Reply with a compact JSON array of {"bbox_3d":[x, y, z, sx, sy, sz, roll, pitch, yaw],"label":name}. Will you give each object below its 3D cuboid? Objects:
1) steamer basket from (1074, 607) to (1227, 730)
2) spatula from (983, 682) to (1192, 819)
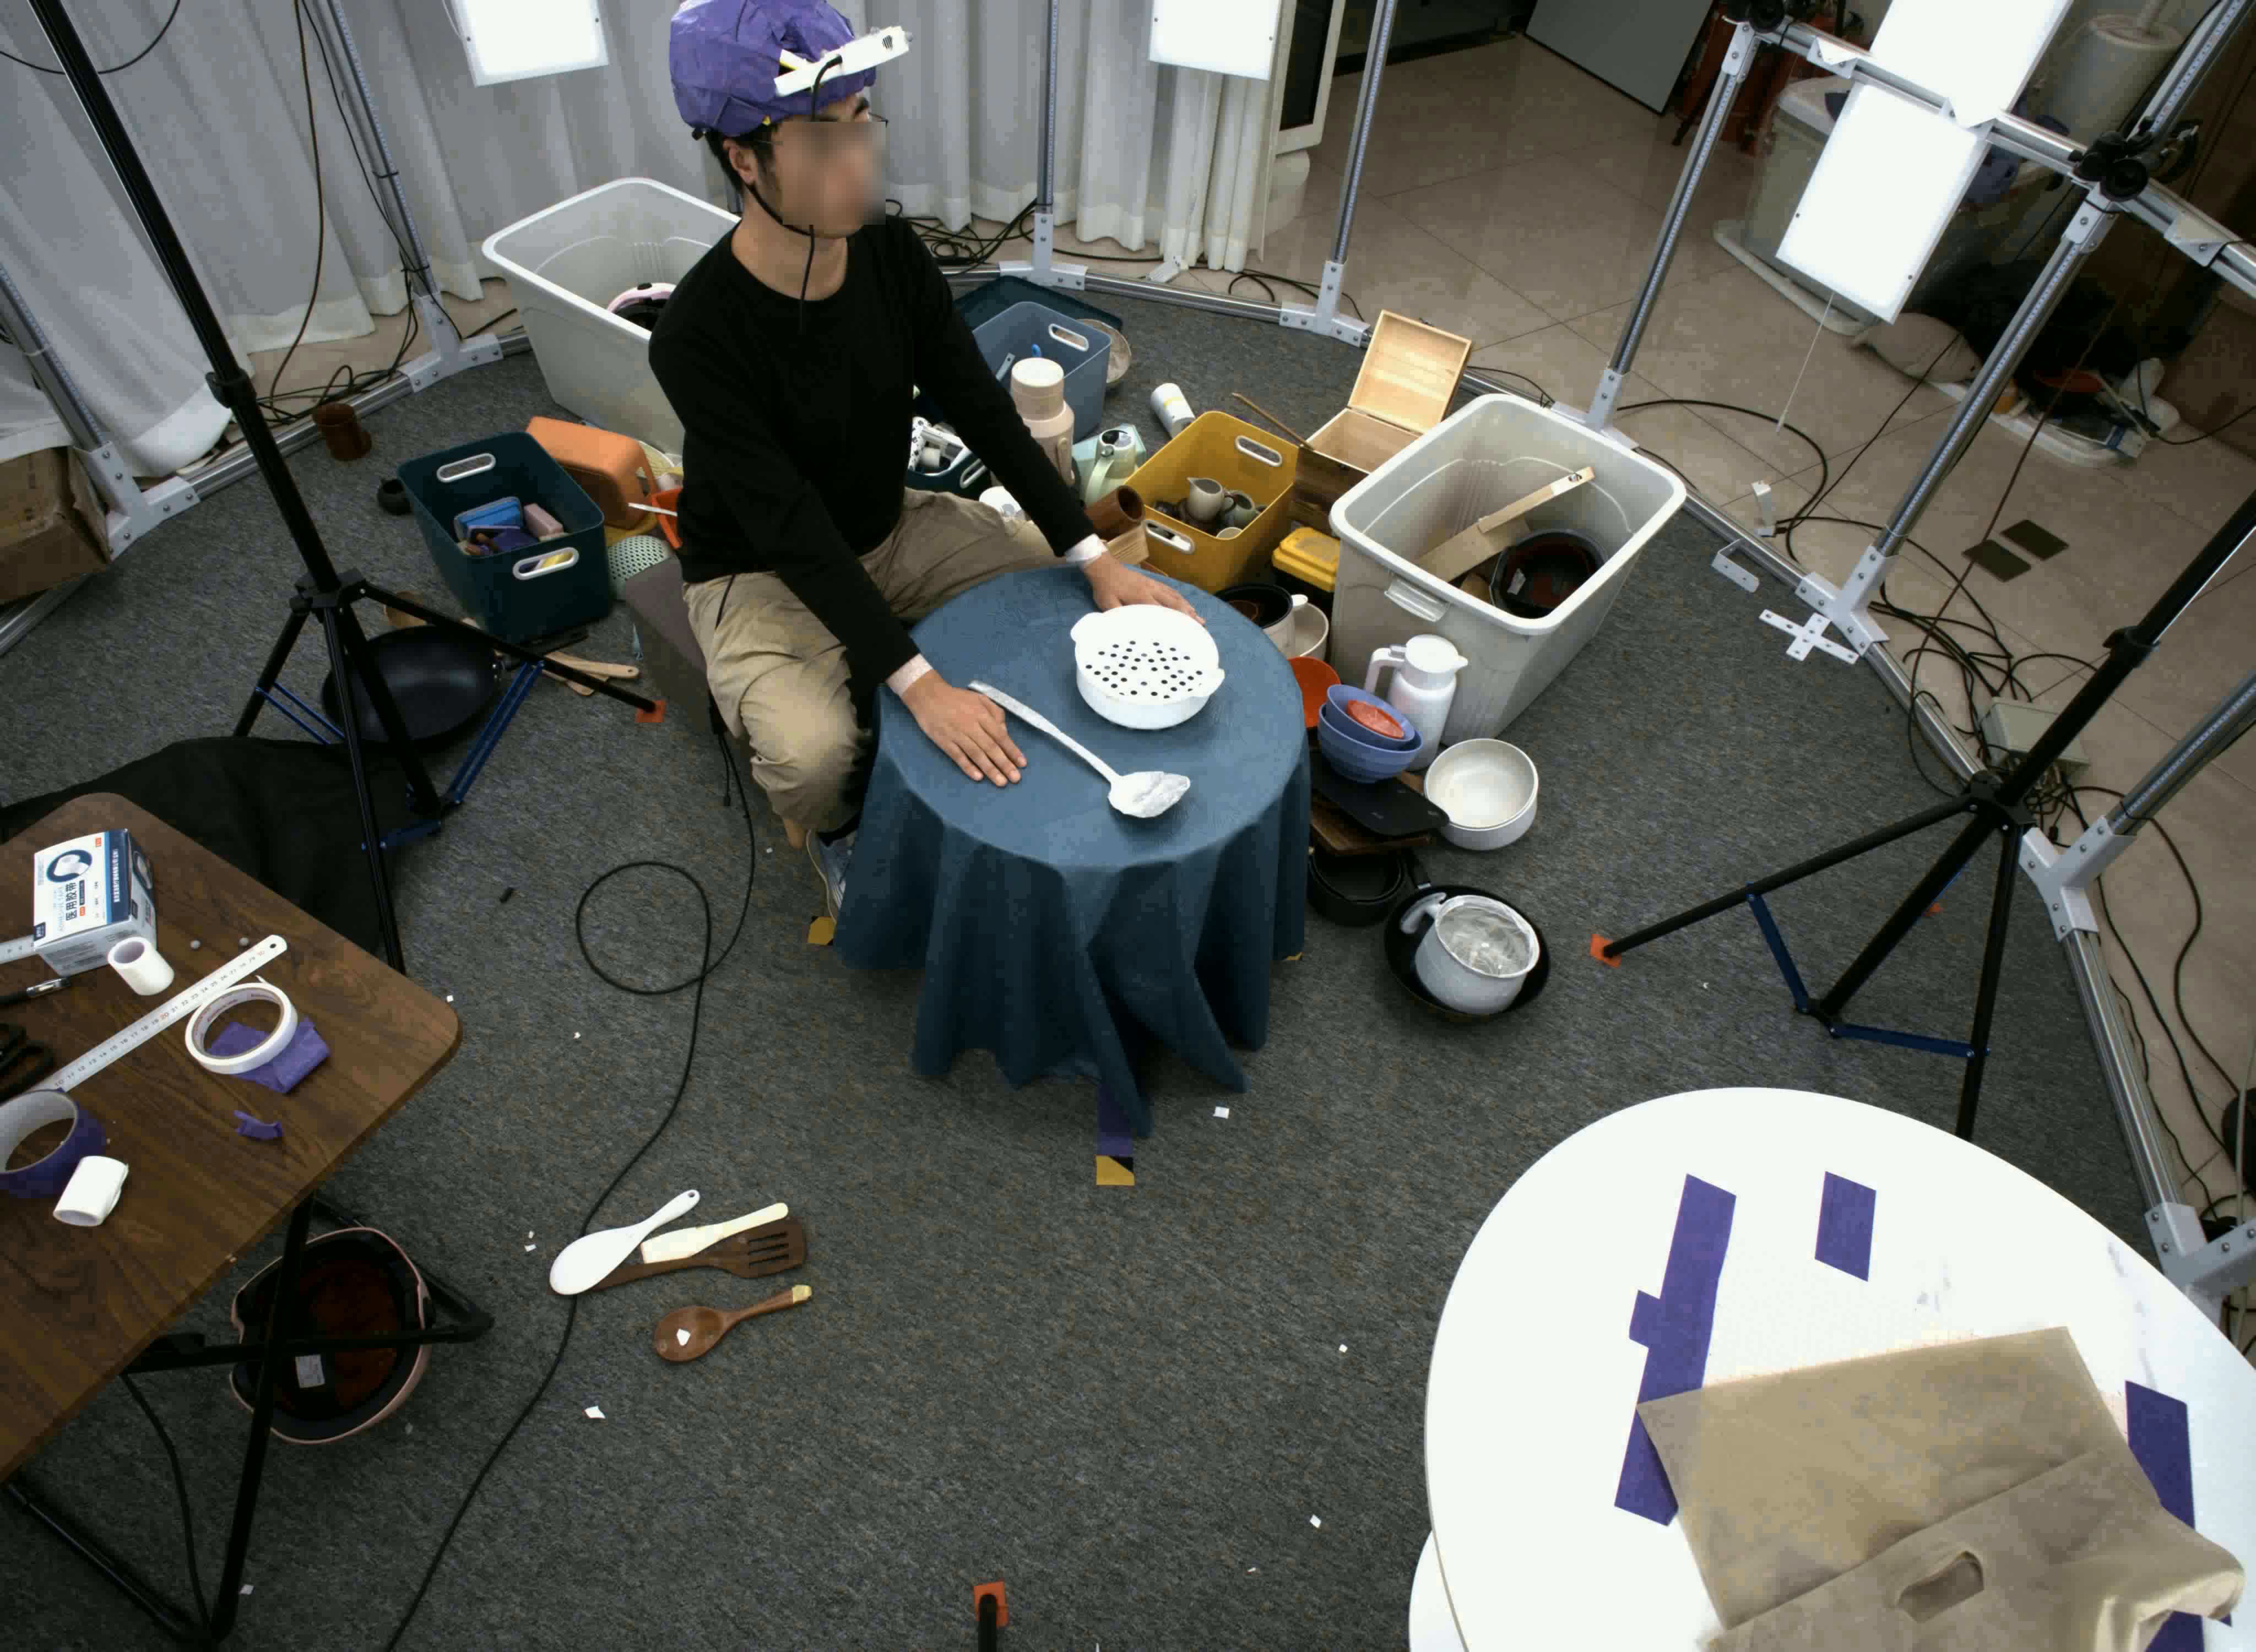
[{"bbox_3d":[0.029,-0.223,1.820,0.232,0.067,0.205,26,52,19],"label":"steamer basket"},{"bbox_3d":[-0.075,-0.116,1.741,0.370,0.044,0.100,36,58,24],"label":"spatula"}]
